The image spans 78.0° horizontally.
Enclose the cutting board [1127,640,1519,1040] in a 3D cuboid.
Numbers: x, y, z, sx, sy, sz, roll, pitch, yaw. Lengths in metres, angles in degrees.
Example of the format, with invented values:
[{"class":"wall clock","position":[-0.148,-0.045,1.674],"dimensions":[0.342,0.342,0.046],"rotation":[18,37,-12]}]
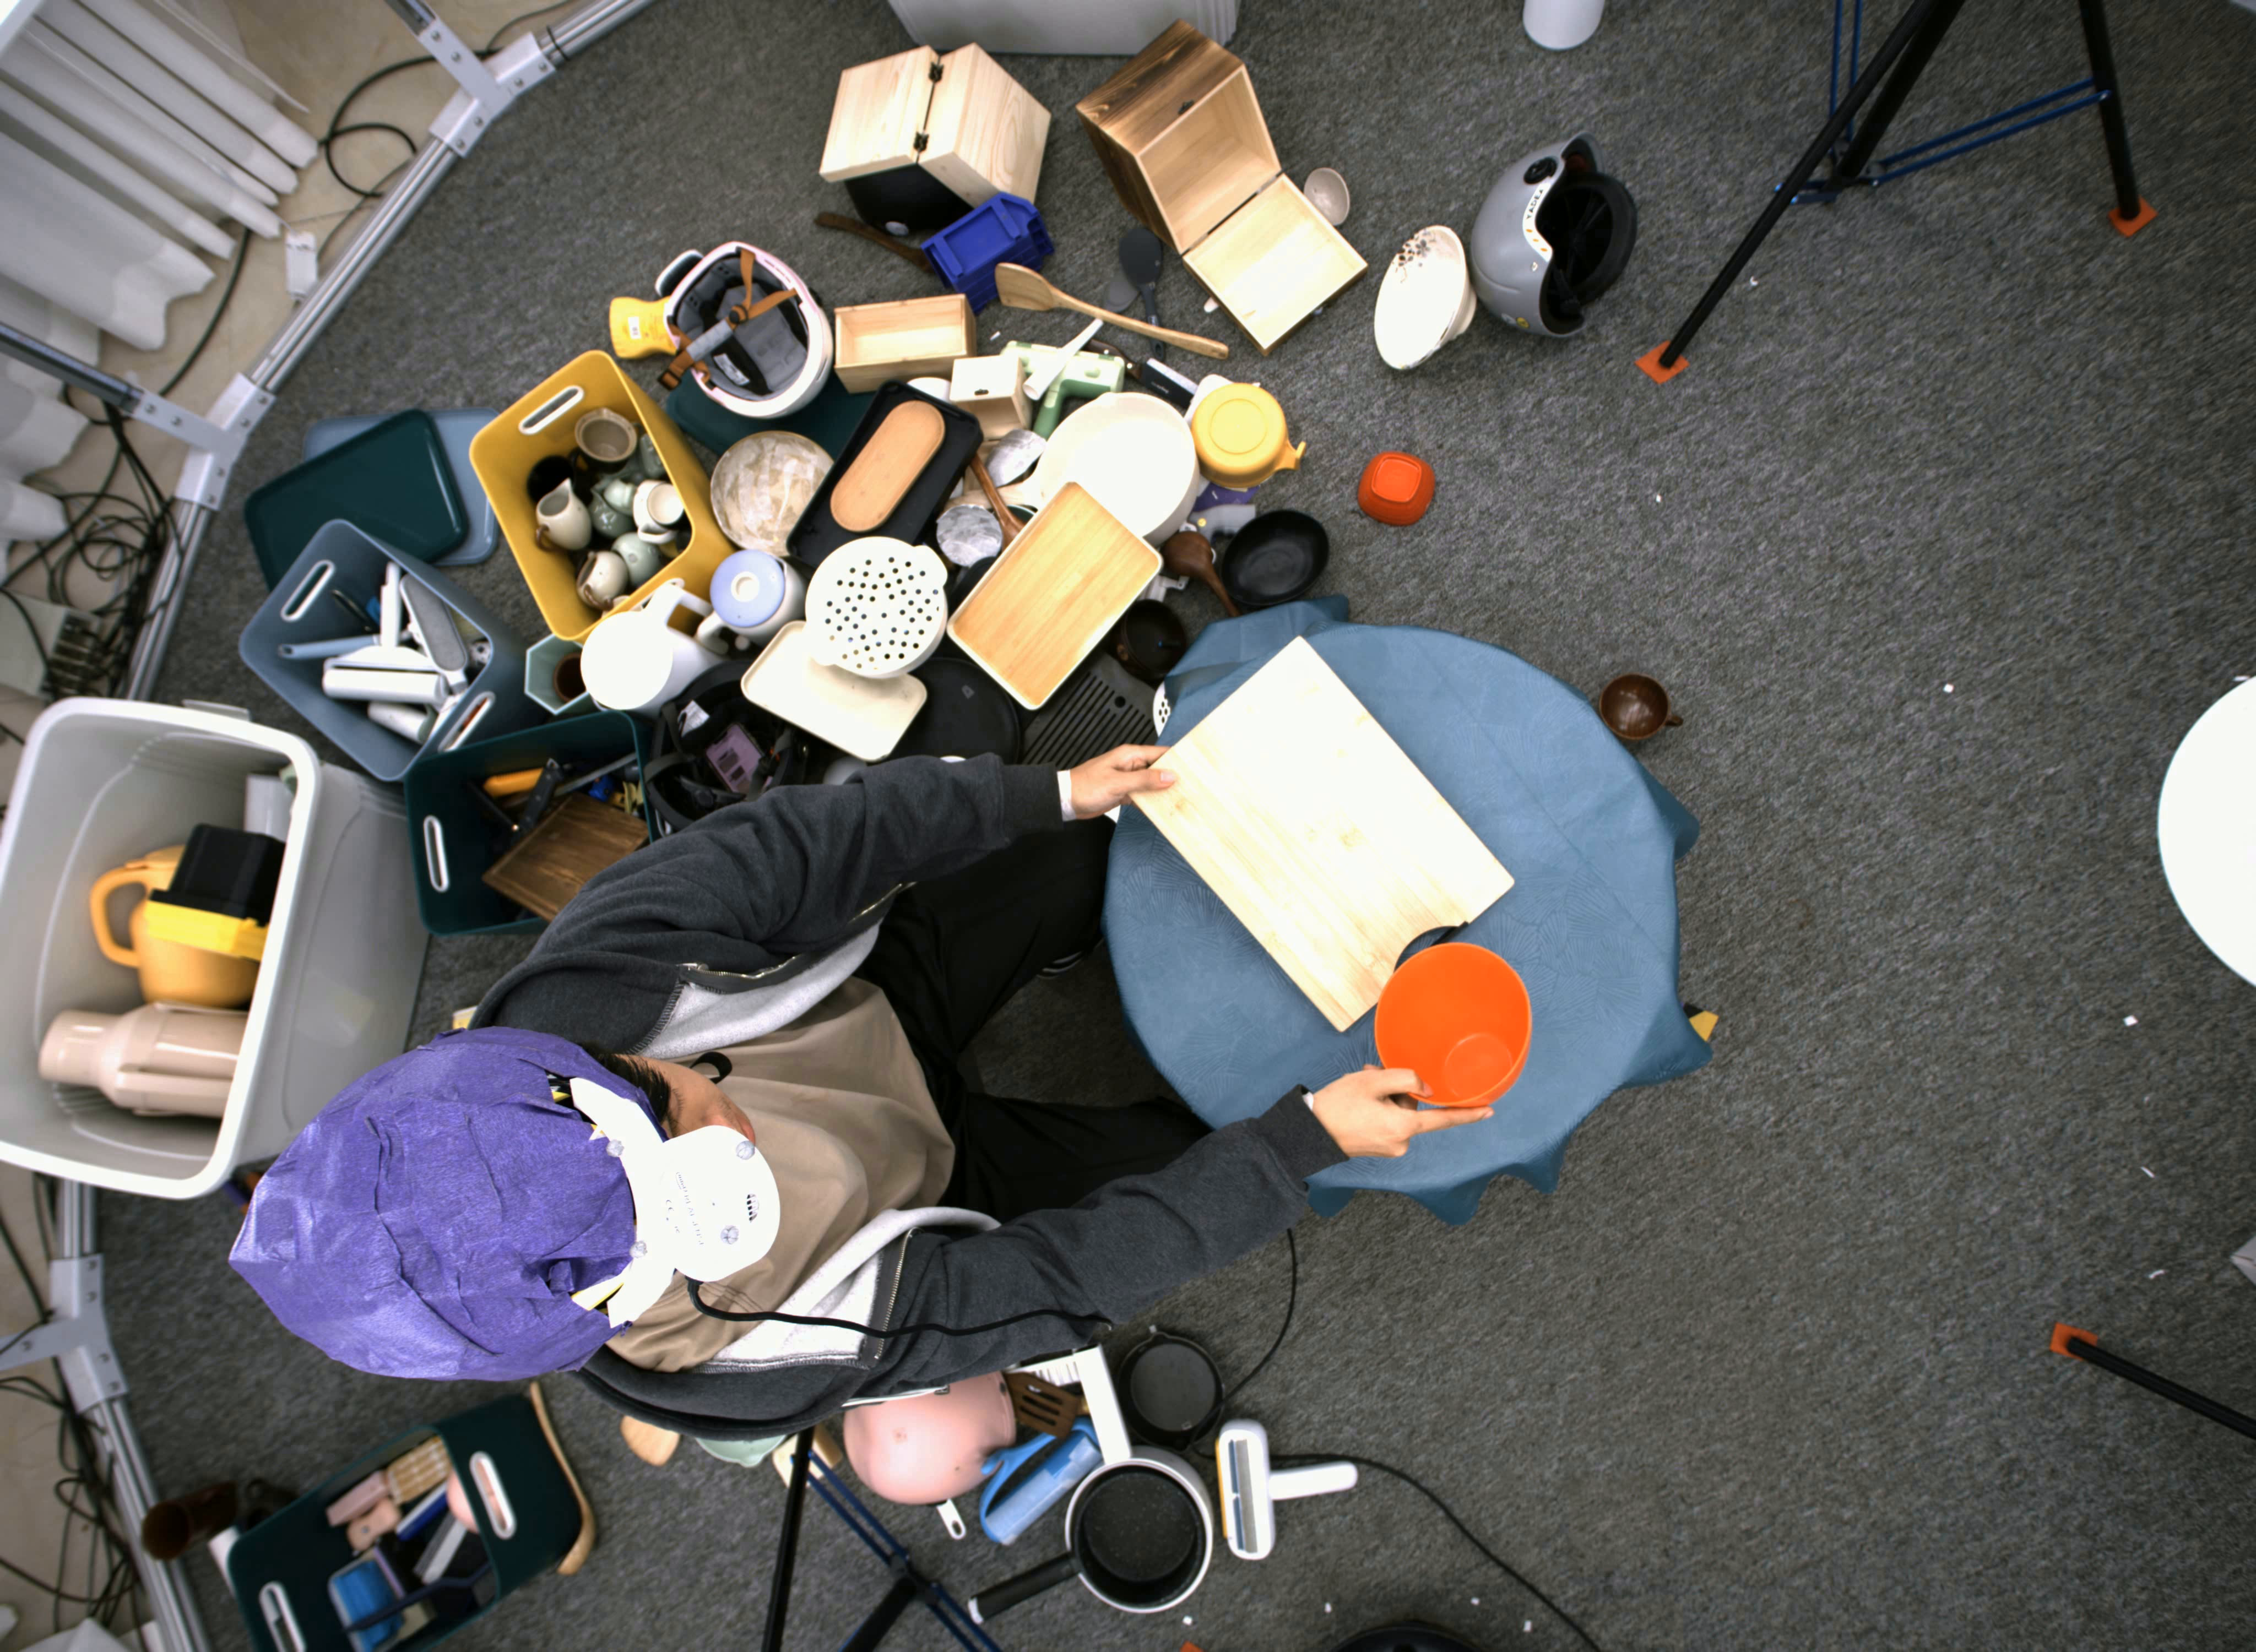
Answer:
[{"class":"cutting board","position":[0.202,0.013,1.427],"dimensions":[0.252,0.023,0.349],"rotation":[-42,94,7]}]

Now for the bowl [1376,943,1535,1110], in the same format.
[{"class":"bowl","position":[0.313,0.196,1.280],"dimensions":[0.149,0.106,0.144],"rotation":[-16,54,23]}]
